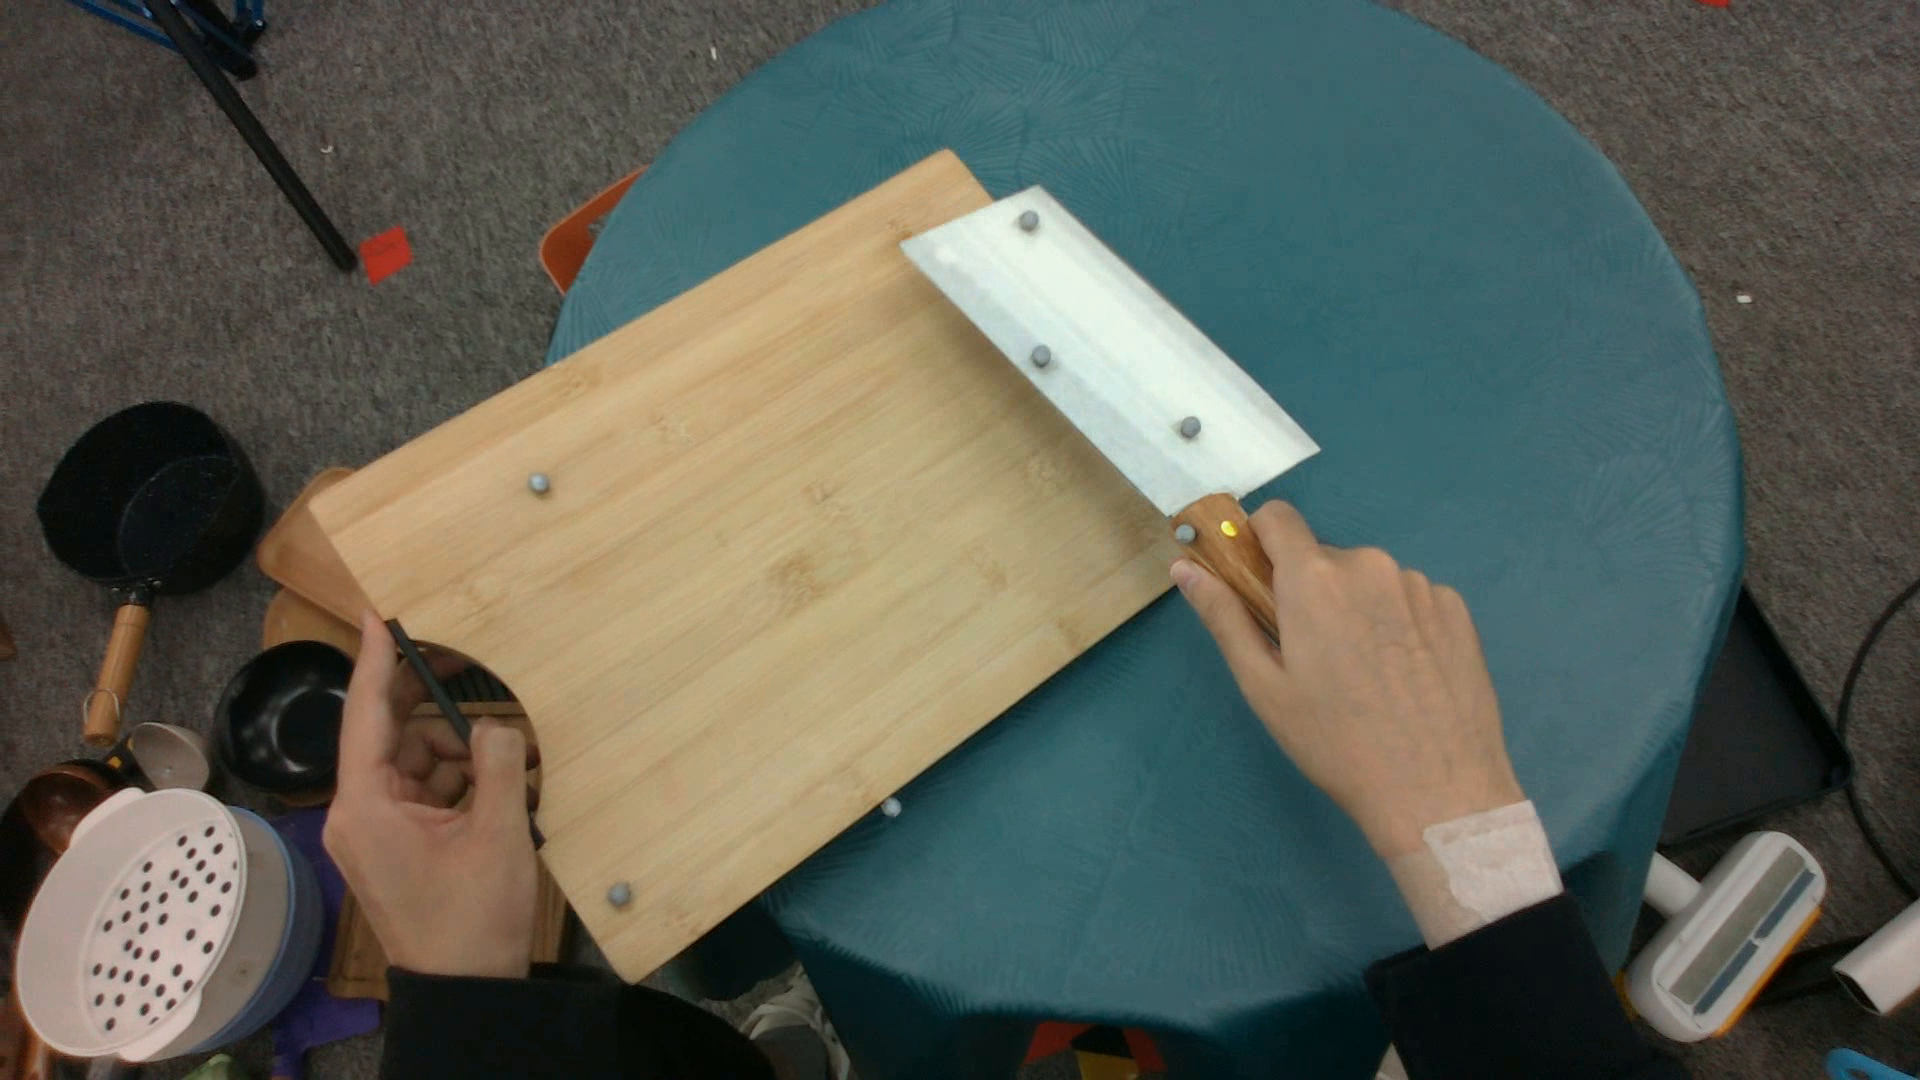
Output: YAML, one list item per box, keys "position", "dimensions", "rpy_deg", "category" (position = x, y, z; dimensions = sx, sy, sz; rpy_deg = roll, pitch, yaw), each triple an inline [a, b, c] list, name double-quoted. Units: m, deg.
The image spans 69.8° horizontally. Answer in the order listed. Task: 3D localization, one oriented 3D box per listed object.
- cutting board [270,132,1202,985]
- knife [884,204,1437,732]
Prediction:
- position: [-0.077, -0.012, 0.610]
  dimensions: [0.350, 0.023, 0.251]
  rpy_deg: [-35, 81, -19]
  category: "cutting board"
- position: [0.093, -0.048, 0.590]
  dimensions: [0.093, 0.021, 0.306]
  rpy_deg: [-30, 65, -31]
  category: "knife"
